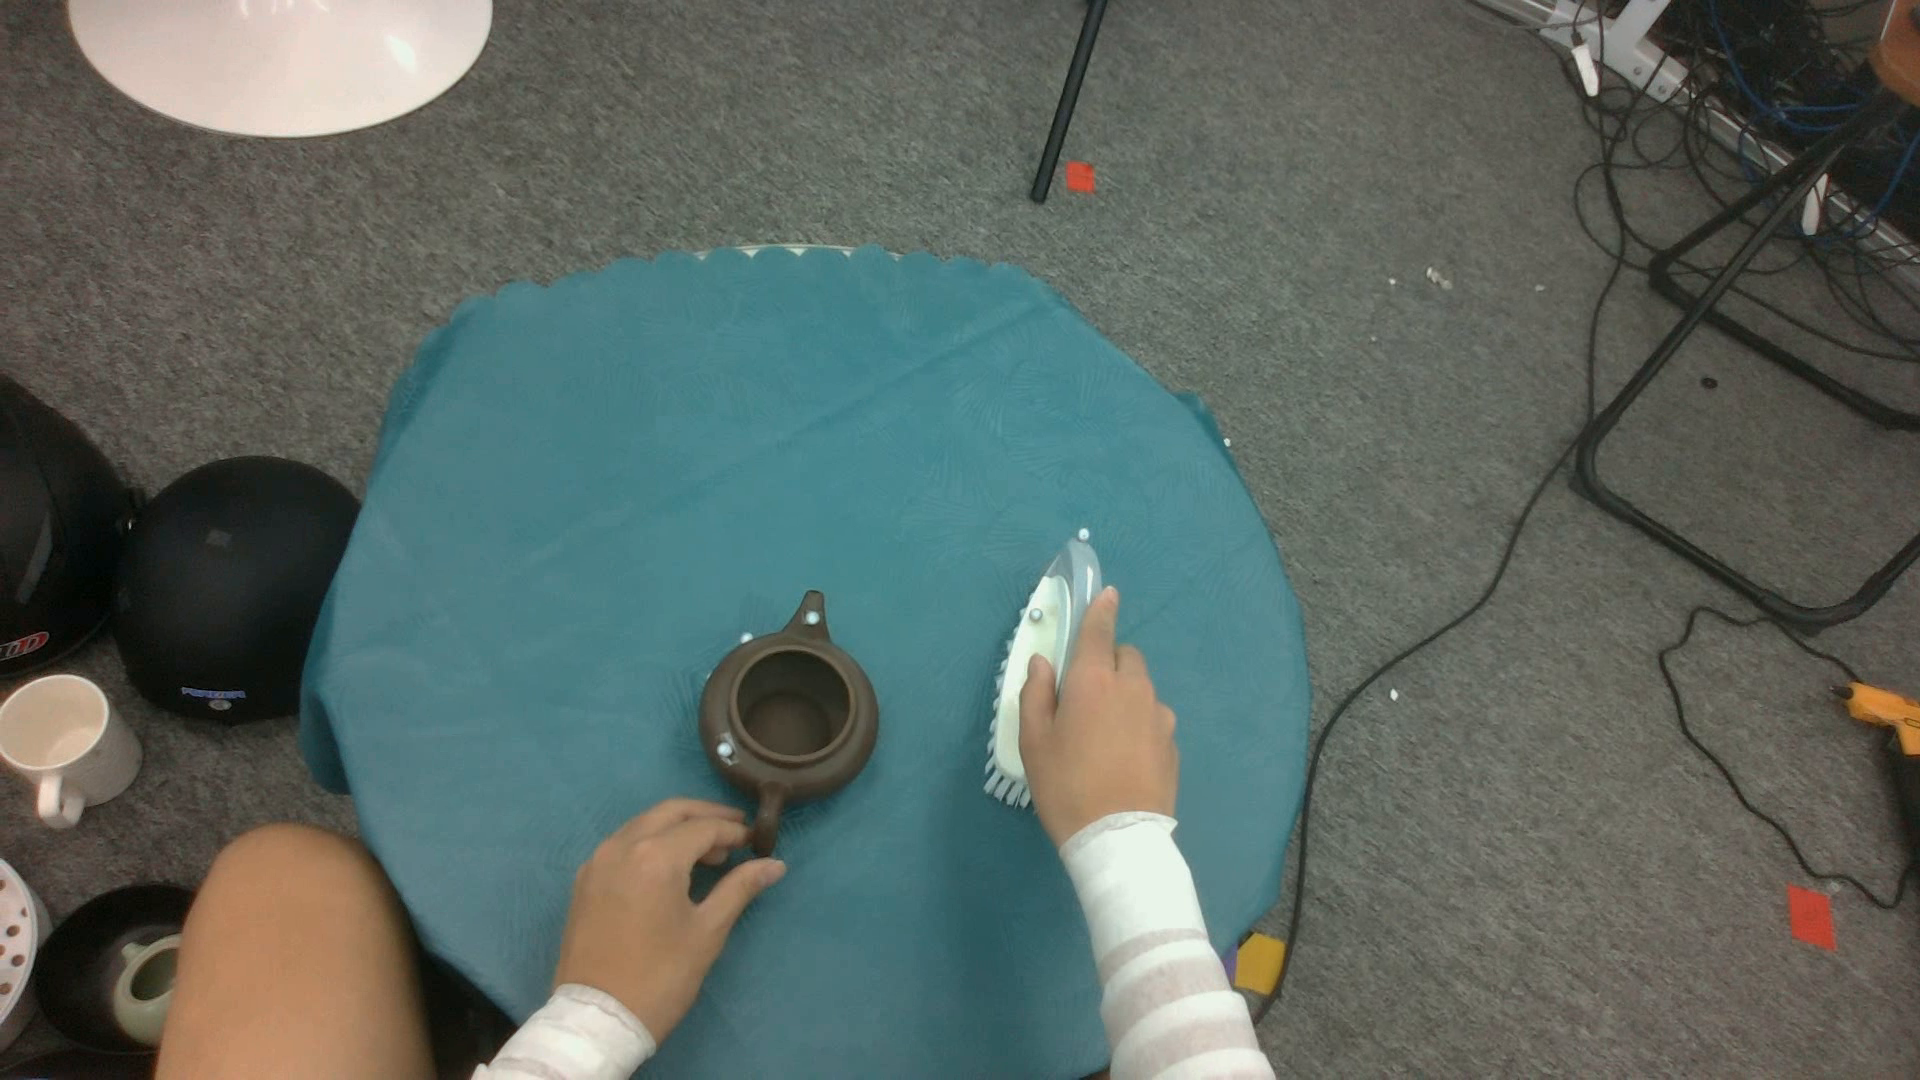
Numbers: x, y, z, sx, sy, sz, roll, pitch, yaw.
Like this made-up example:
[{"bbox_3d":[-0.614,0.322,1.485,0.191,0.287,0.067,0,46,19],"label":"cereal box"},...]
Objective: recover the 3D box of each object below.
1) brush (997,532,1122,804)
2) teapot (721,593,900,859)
[{"bbox_3d":[0.068,0.061,0.827,0.061,0.094,0.176,17,55,-9],"label":"brush"},{"bbox_3d":[-0.086,0.107,0.791,0.102,0.053,0.154,4,59,-8],"label":"teapot"}]
